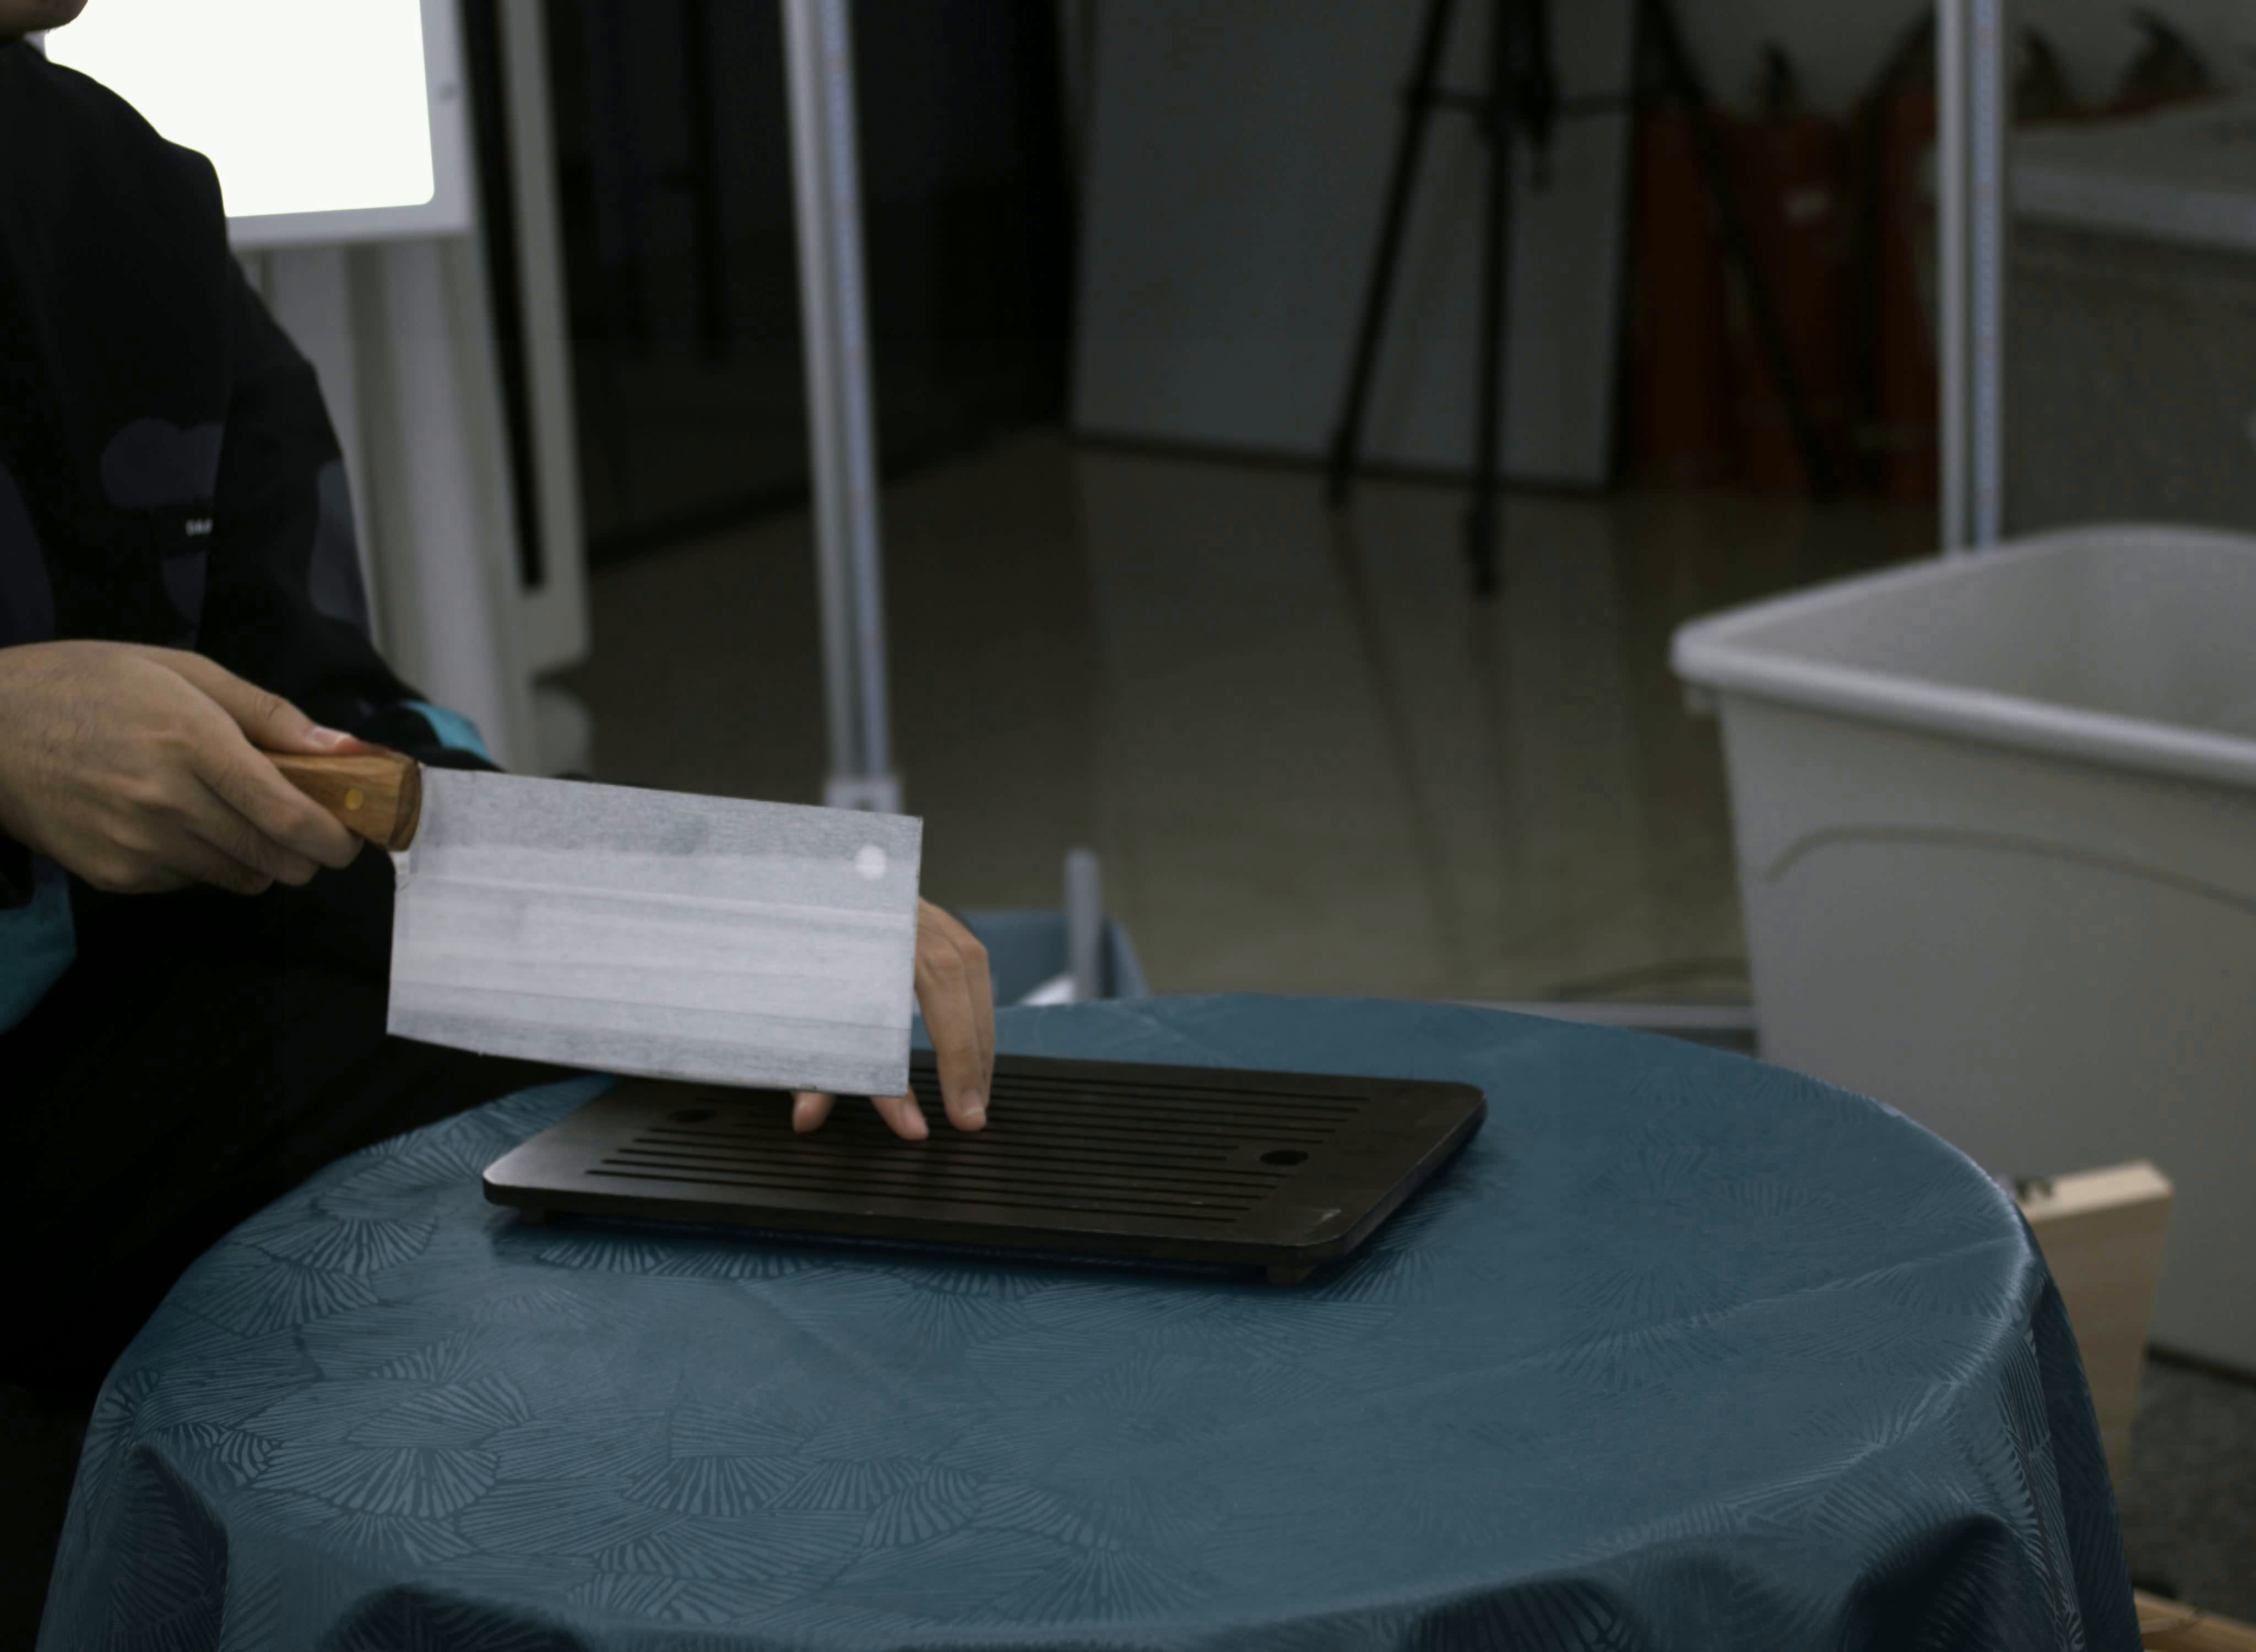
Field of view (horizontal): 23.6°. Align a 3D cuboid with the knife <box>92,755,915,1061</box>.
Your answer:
[{"bbox_3d":[-0.204,0.027,1.733,0.306,0.094,0.020,5,4,25],"label":"knife"}]

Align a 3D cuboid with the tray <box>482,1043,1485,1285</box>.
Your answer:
[{"bbox_3d":[-0.046,0.110,1.791,0.306,0.019,0.168,2,15,24],"label":"tray"}]
